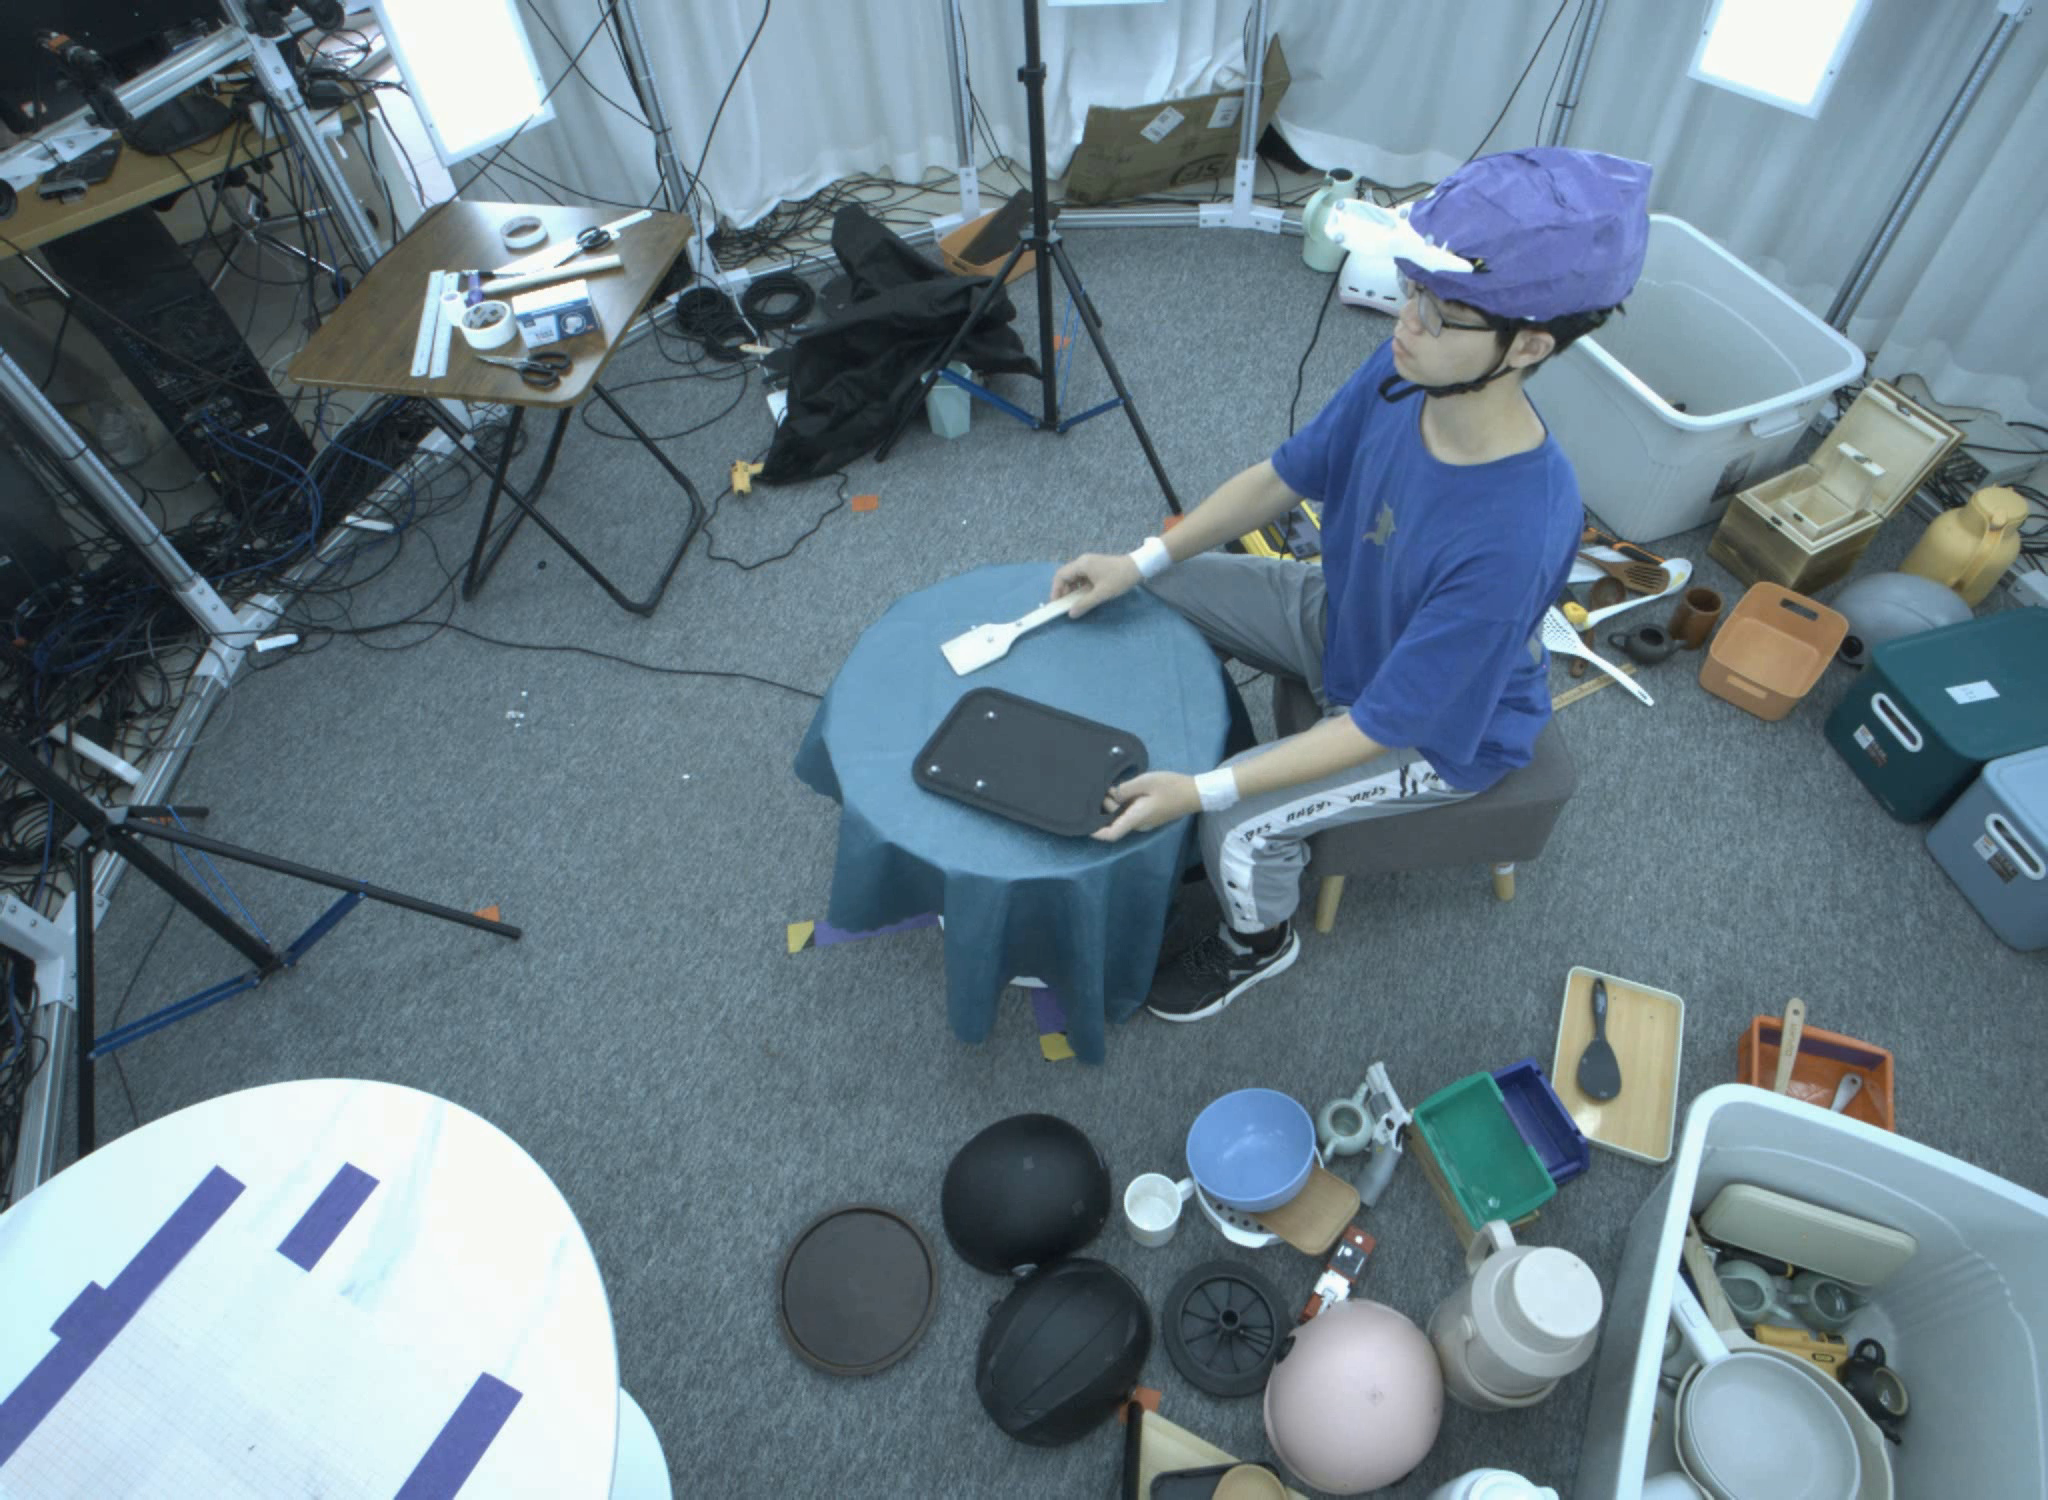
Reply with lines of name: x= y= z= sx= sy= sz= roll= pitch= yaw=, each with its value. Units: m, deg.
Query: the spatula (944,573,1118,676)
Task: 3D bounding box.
spatula: x=0.016 y=-0.203 z=1.902 sx=0.294 sy=0.011 sz=0.071 roll=-28 pitch=58 yaw=-9

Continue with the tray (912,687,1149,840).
tray: x=0.014 y=0.015 z=1.743 sx=0.320 sy=0.010 sz=0.211 roll=20 pitch=55 yaw=22
